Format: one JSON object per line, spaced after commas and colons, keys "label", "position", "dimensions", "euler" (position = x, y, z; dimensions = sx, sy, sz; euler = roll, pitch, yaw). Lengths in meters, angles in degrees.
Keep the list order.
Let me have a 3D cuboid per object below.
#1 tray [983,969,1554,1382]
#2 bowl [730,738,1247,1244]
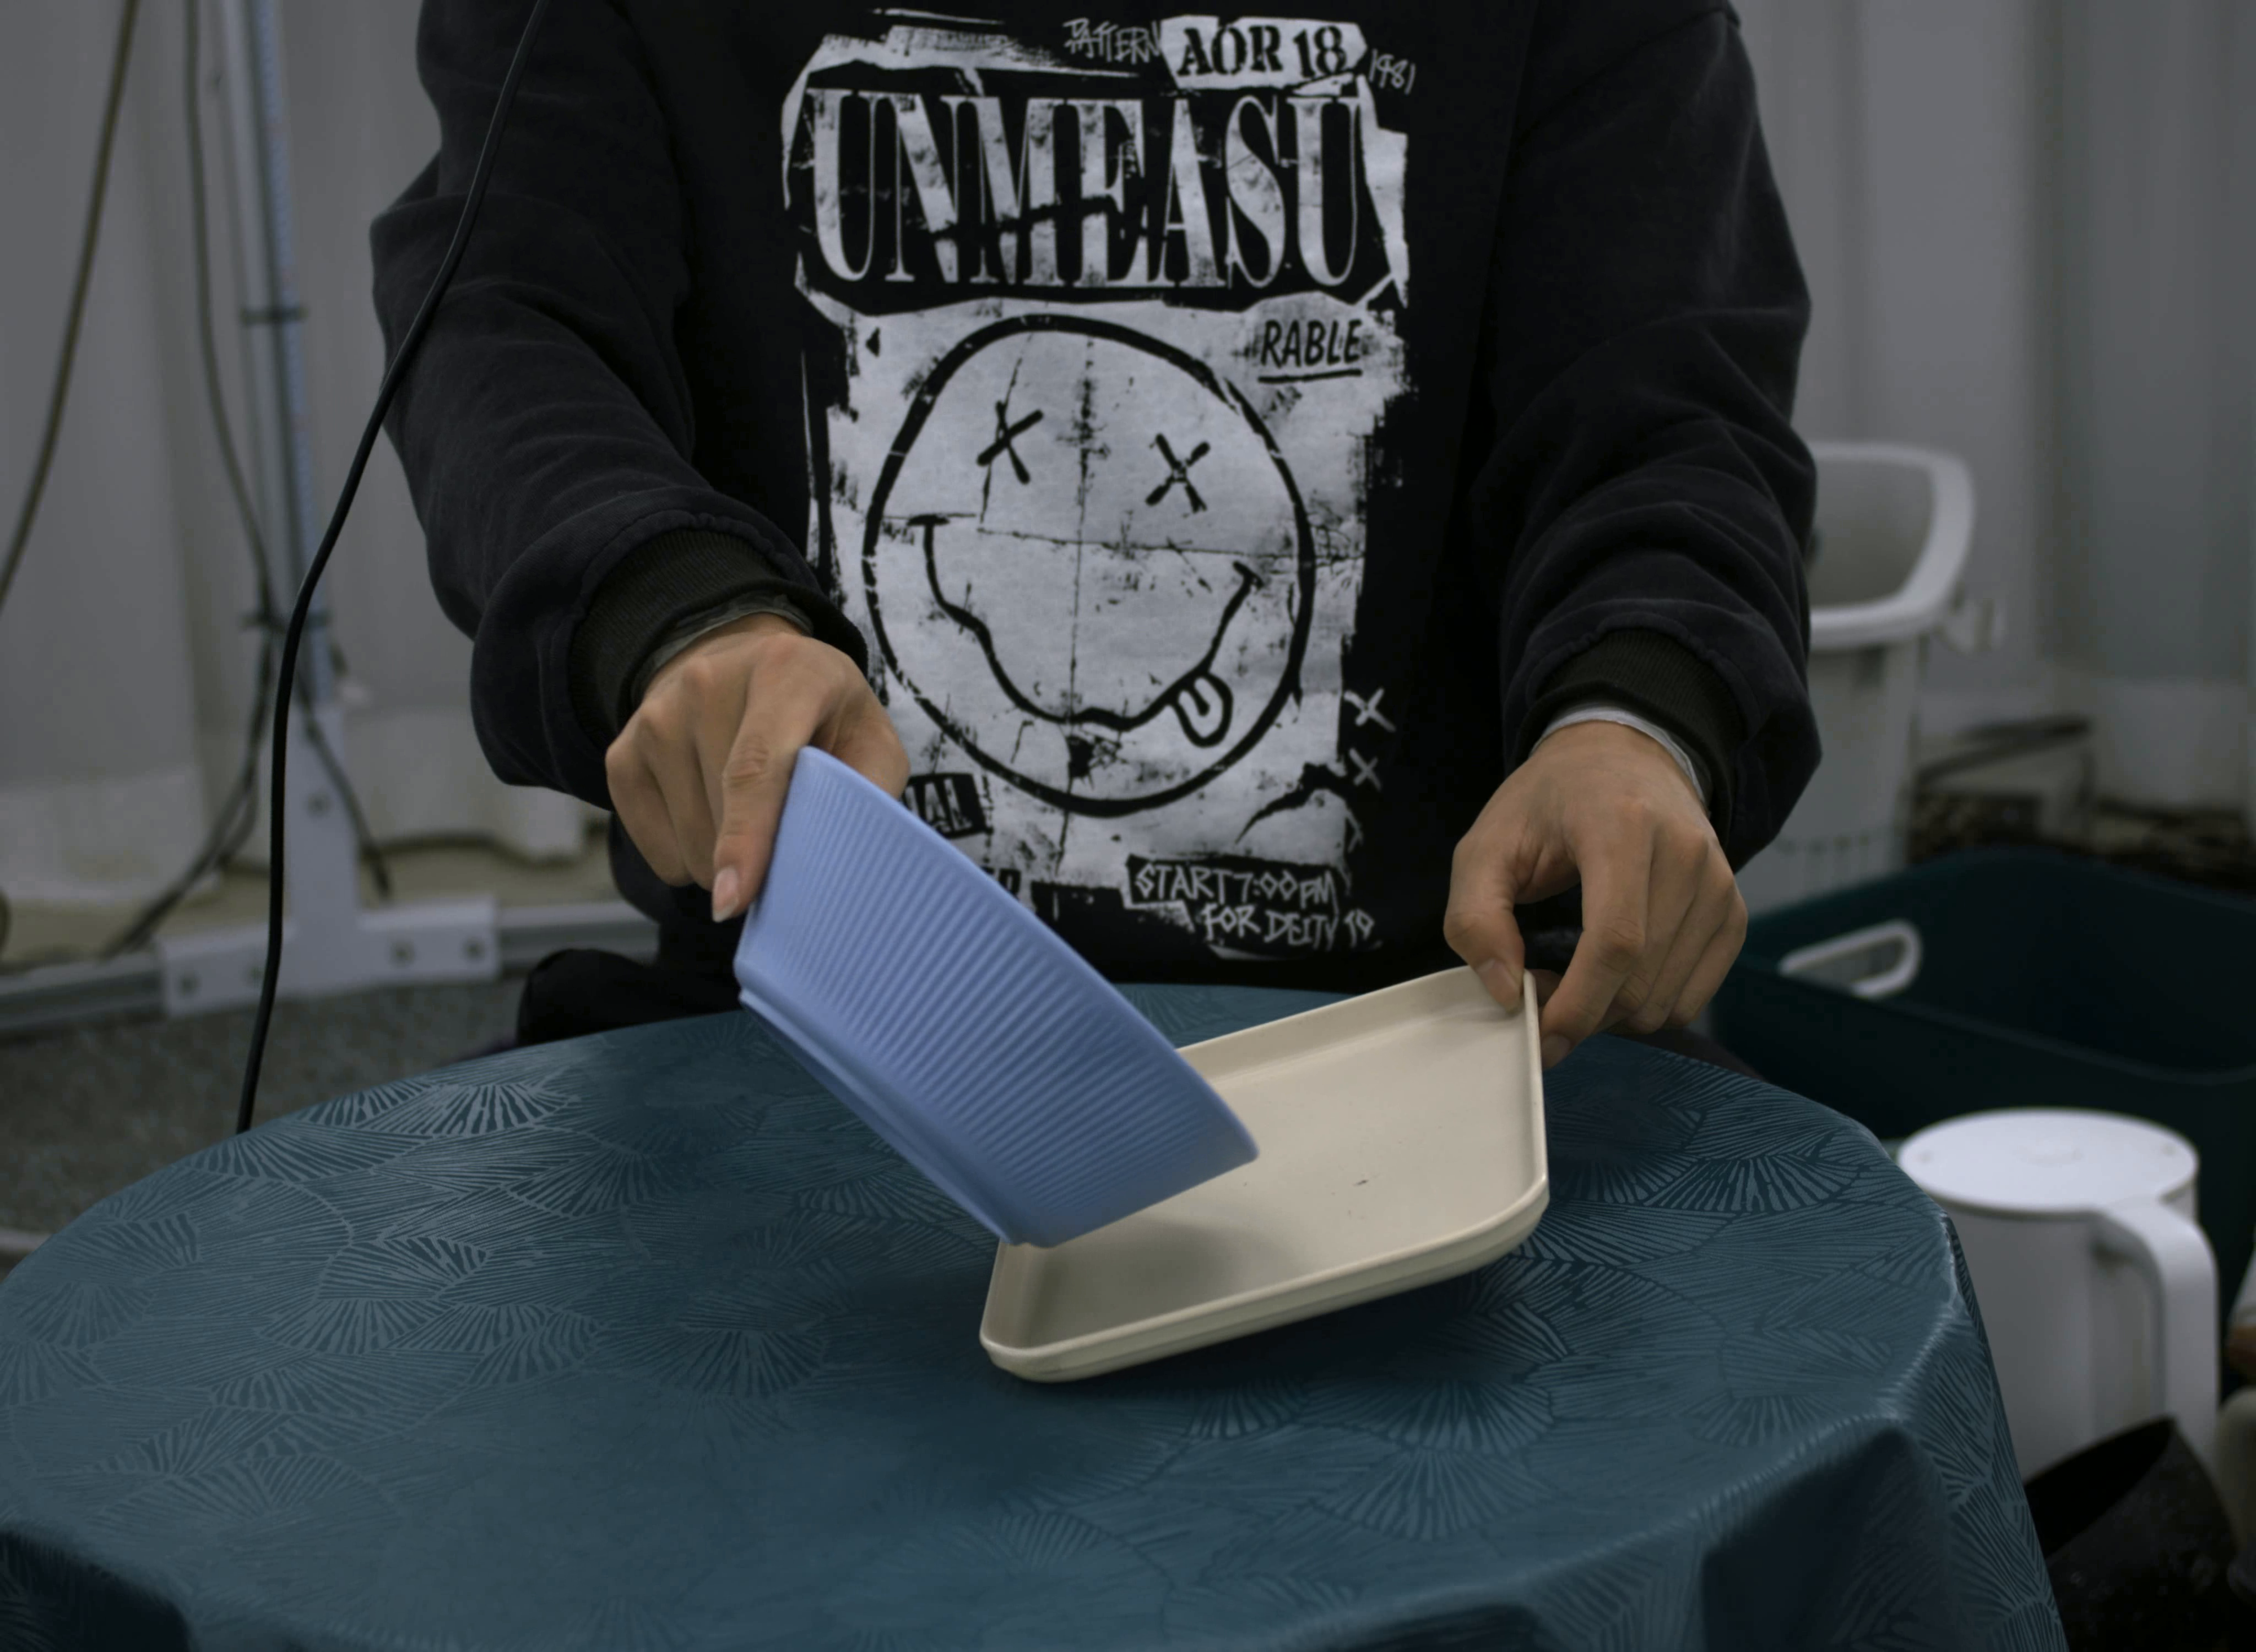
{"label": "tray", "position": [0.045, 0.104, 1.640], "dimensions": [0.171, 0.017, 0.241], "euler": [-16, 15, 7]}
{"label": "bowl", "position": [-0.051, 0.058, 1.570], "dimensions": [0.070, 0.174, 0.177], "euler": [-46, 26, -7]}
